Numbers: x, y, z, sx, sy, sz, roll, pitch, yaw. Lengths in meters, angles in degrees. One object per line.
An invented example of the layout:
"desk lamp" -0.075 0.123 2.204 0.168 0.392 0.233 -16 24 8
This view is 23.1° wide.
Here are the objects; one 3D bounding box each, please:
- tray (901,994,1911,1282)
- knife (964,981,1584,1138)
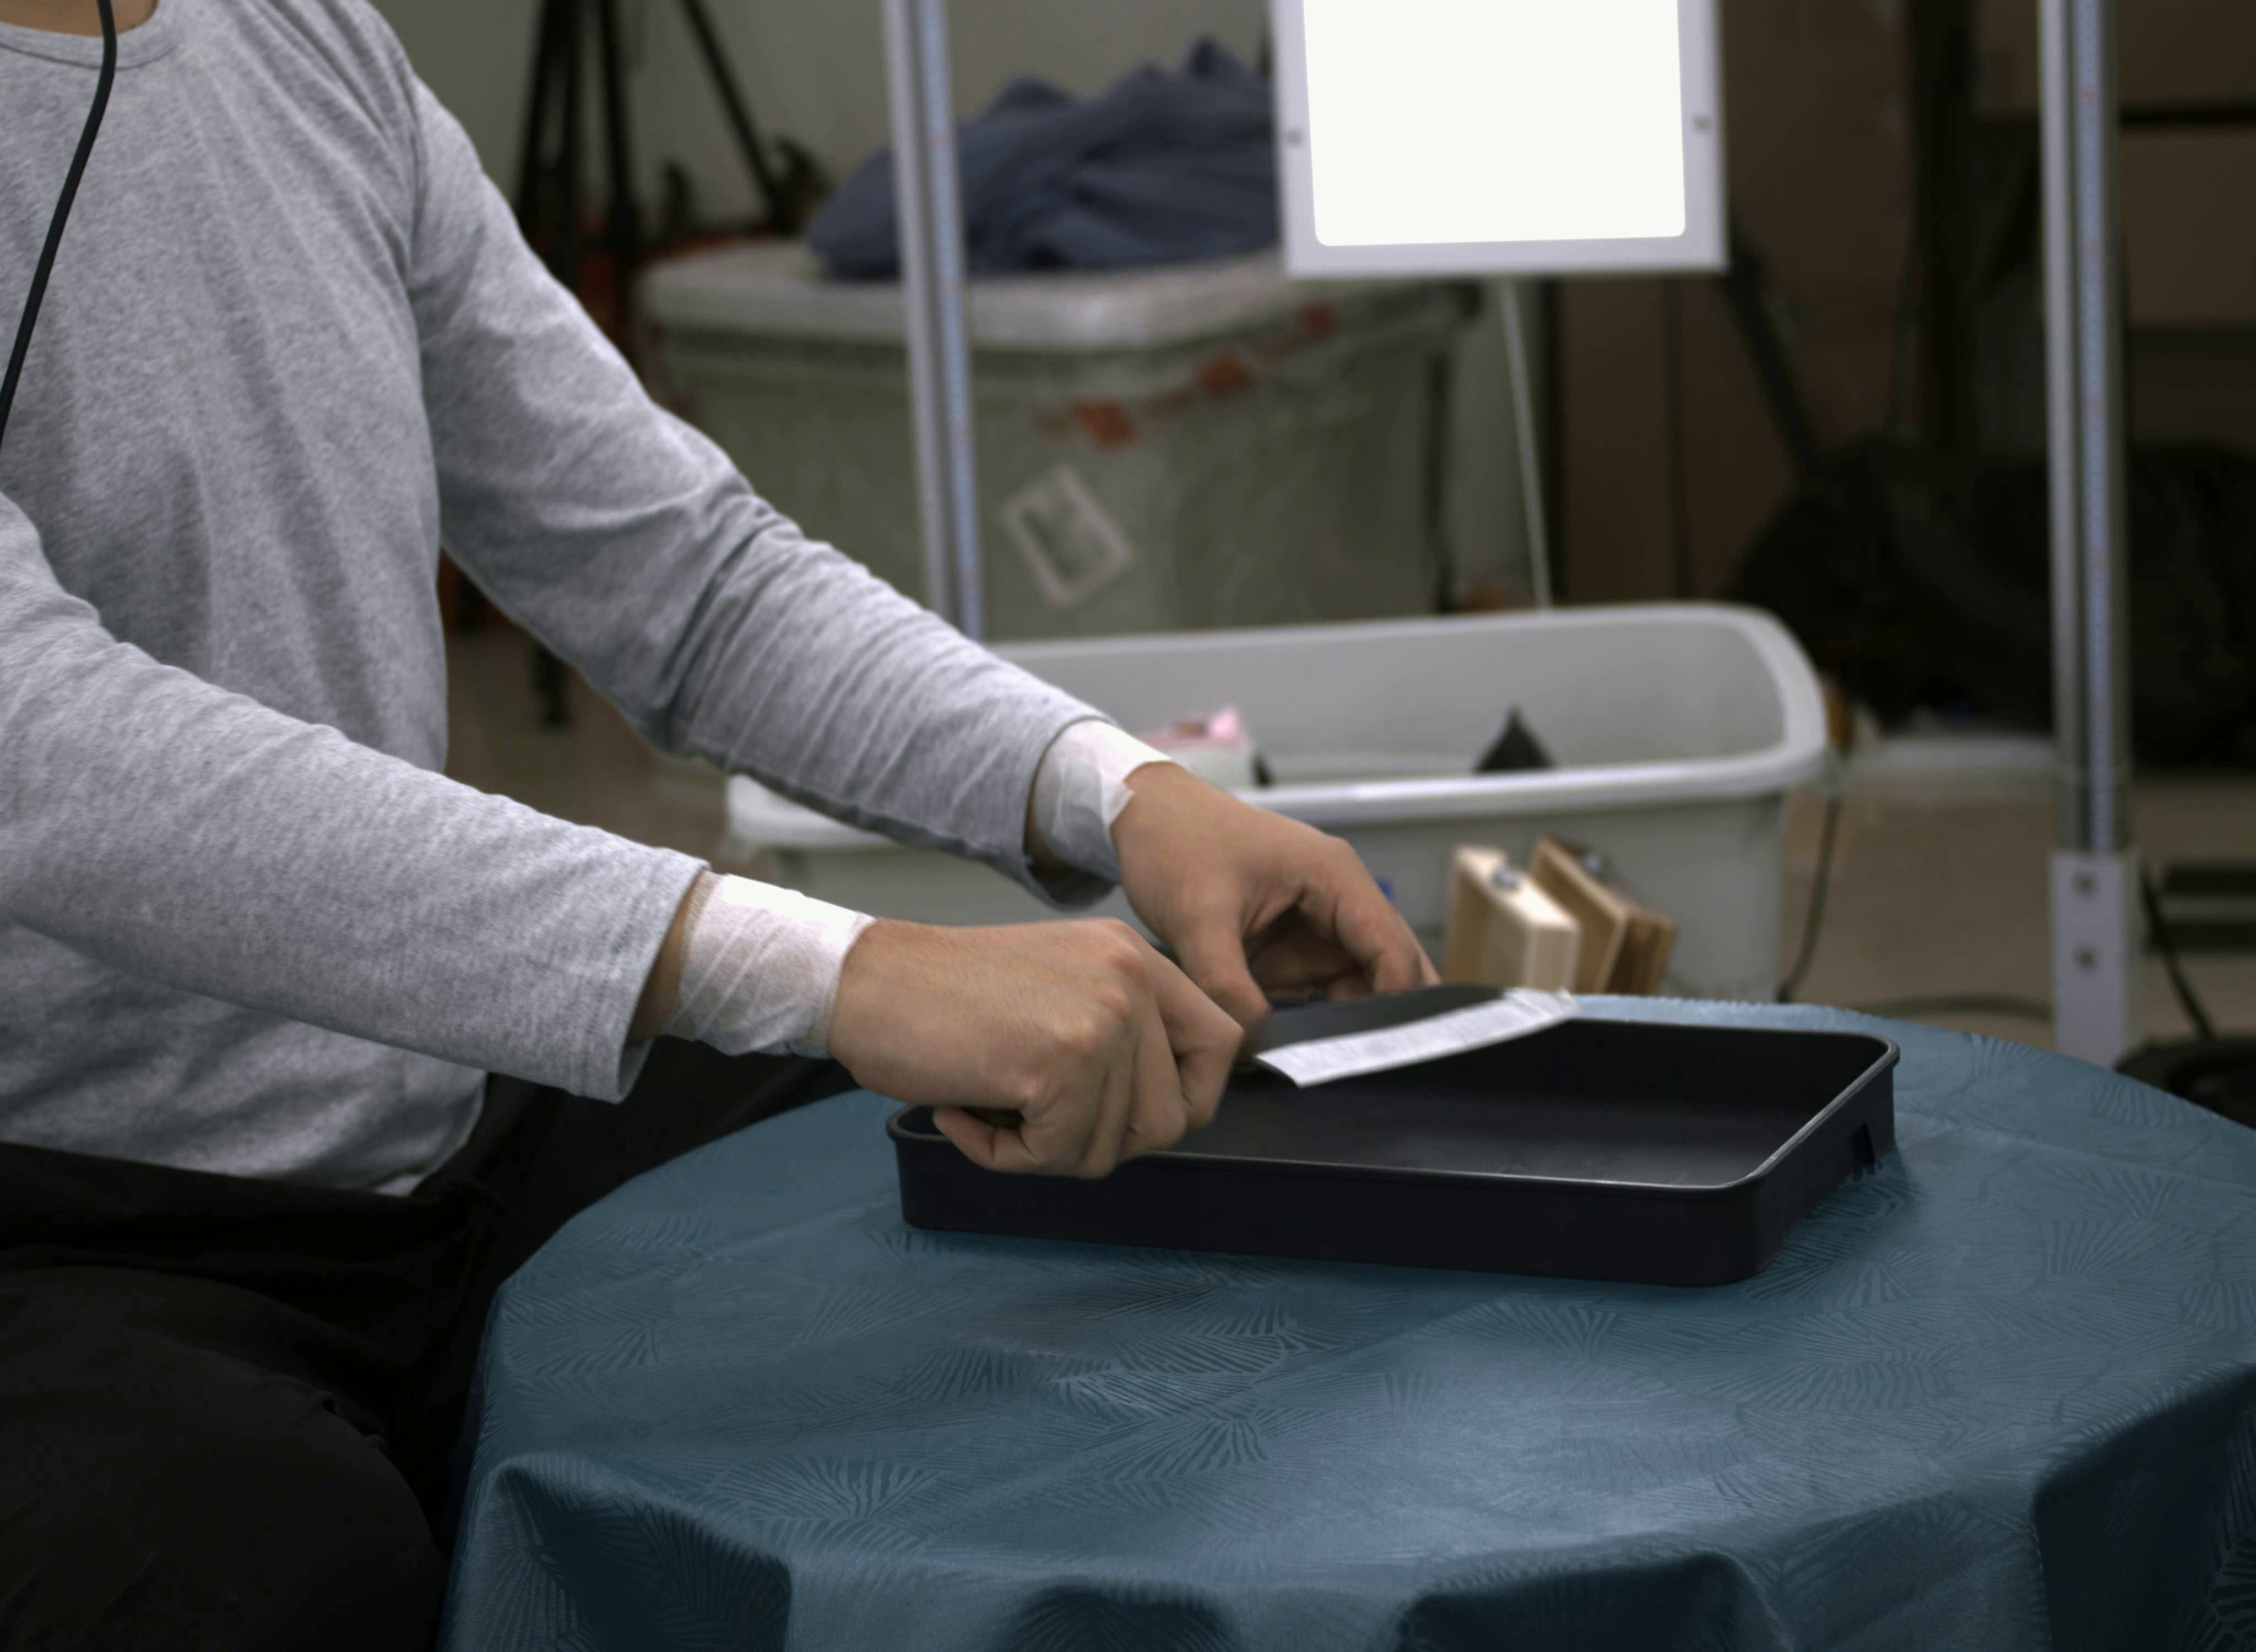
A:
"tray" 0.097 0.104 1.884 0.323 0.037 0.180 1 15 26
"knife" 0.055 0.074 1.809 0.281 0.020 0.051 -7 30 -44
